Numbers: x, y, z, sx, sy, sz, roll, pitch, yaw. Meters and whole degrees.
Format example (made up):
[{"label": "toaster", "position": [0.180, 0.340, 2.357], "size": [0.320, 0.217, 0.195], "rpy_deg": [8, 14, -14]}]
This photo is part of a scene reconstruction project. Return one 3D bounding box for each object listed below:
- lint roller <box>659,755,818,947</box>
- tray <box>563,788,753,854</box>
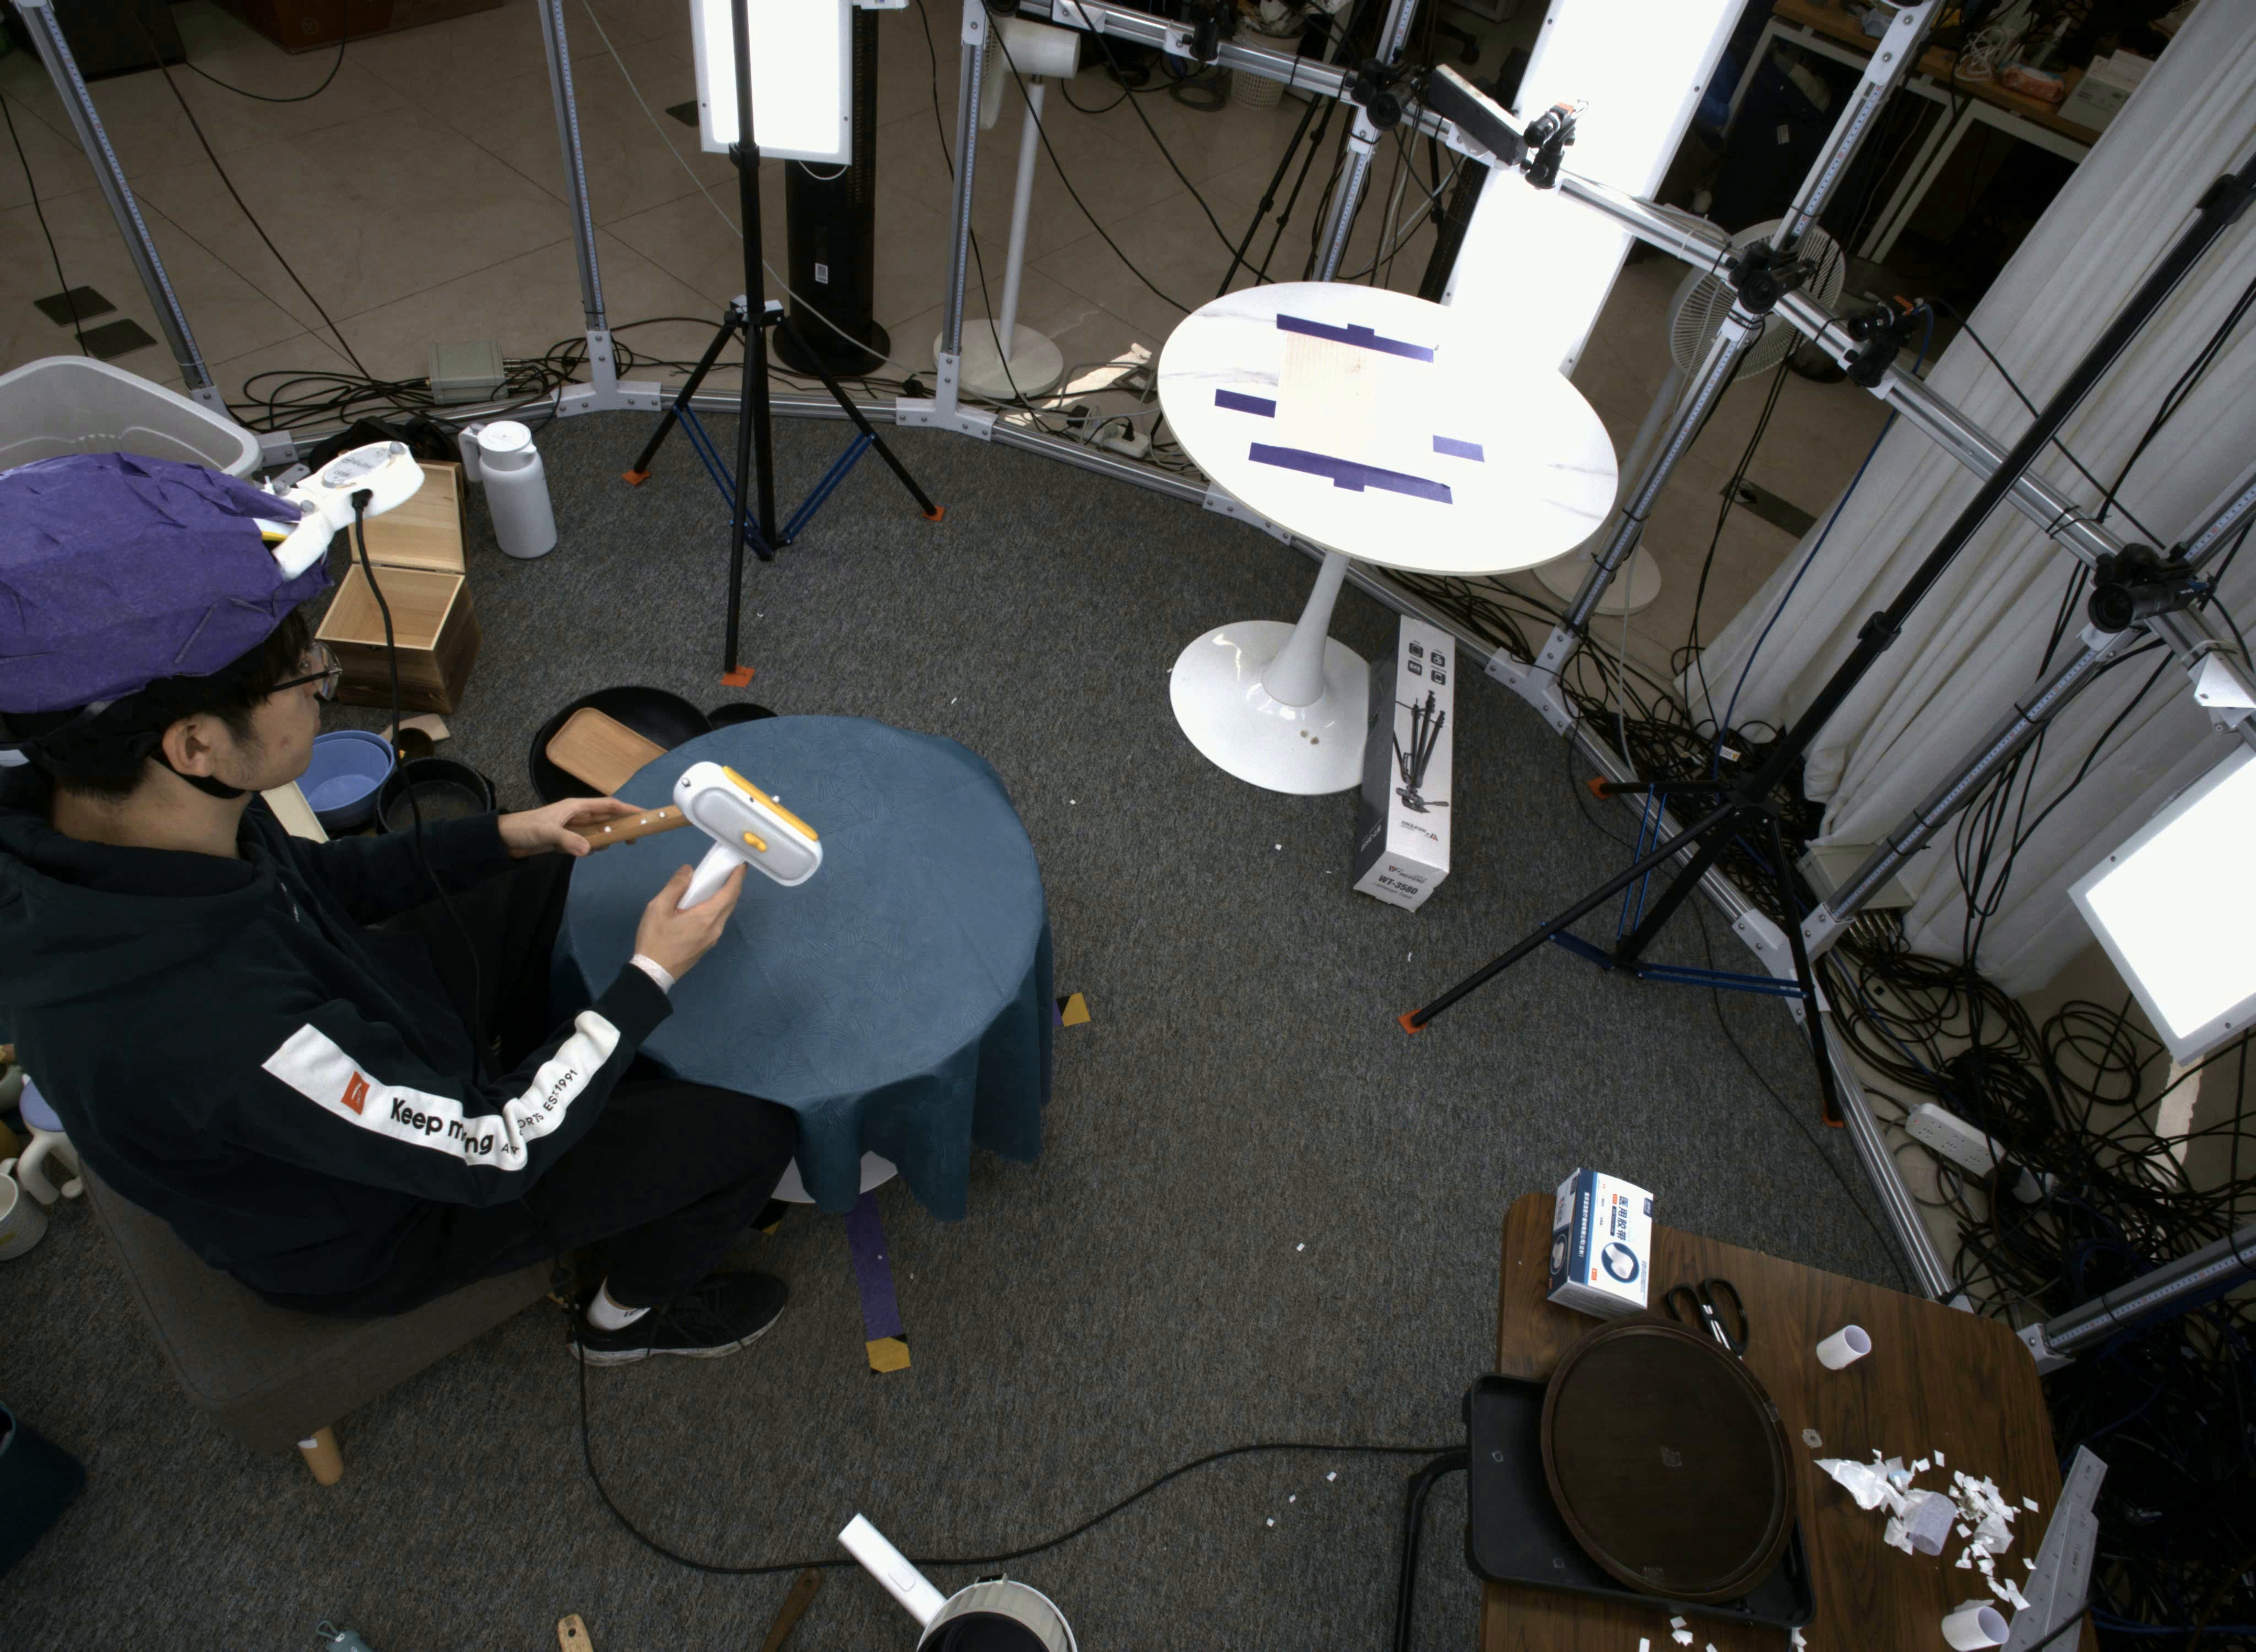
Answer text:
[{"label": "lint roller", "position": [-0.459, 0.042, 1.428], "size": [0.193, 0.200, 0.071], "rpy_deg": [-51, 47, 1]}, {"label": "tray", "position": [-0.545, -0.008, 1.479], "size": [0.230, 0.099, 0.021], "rpy_deg": [-13, 102, -11]}]
